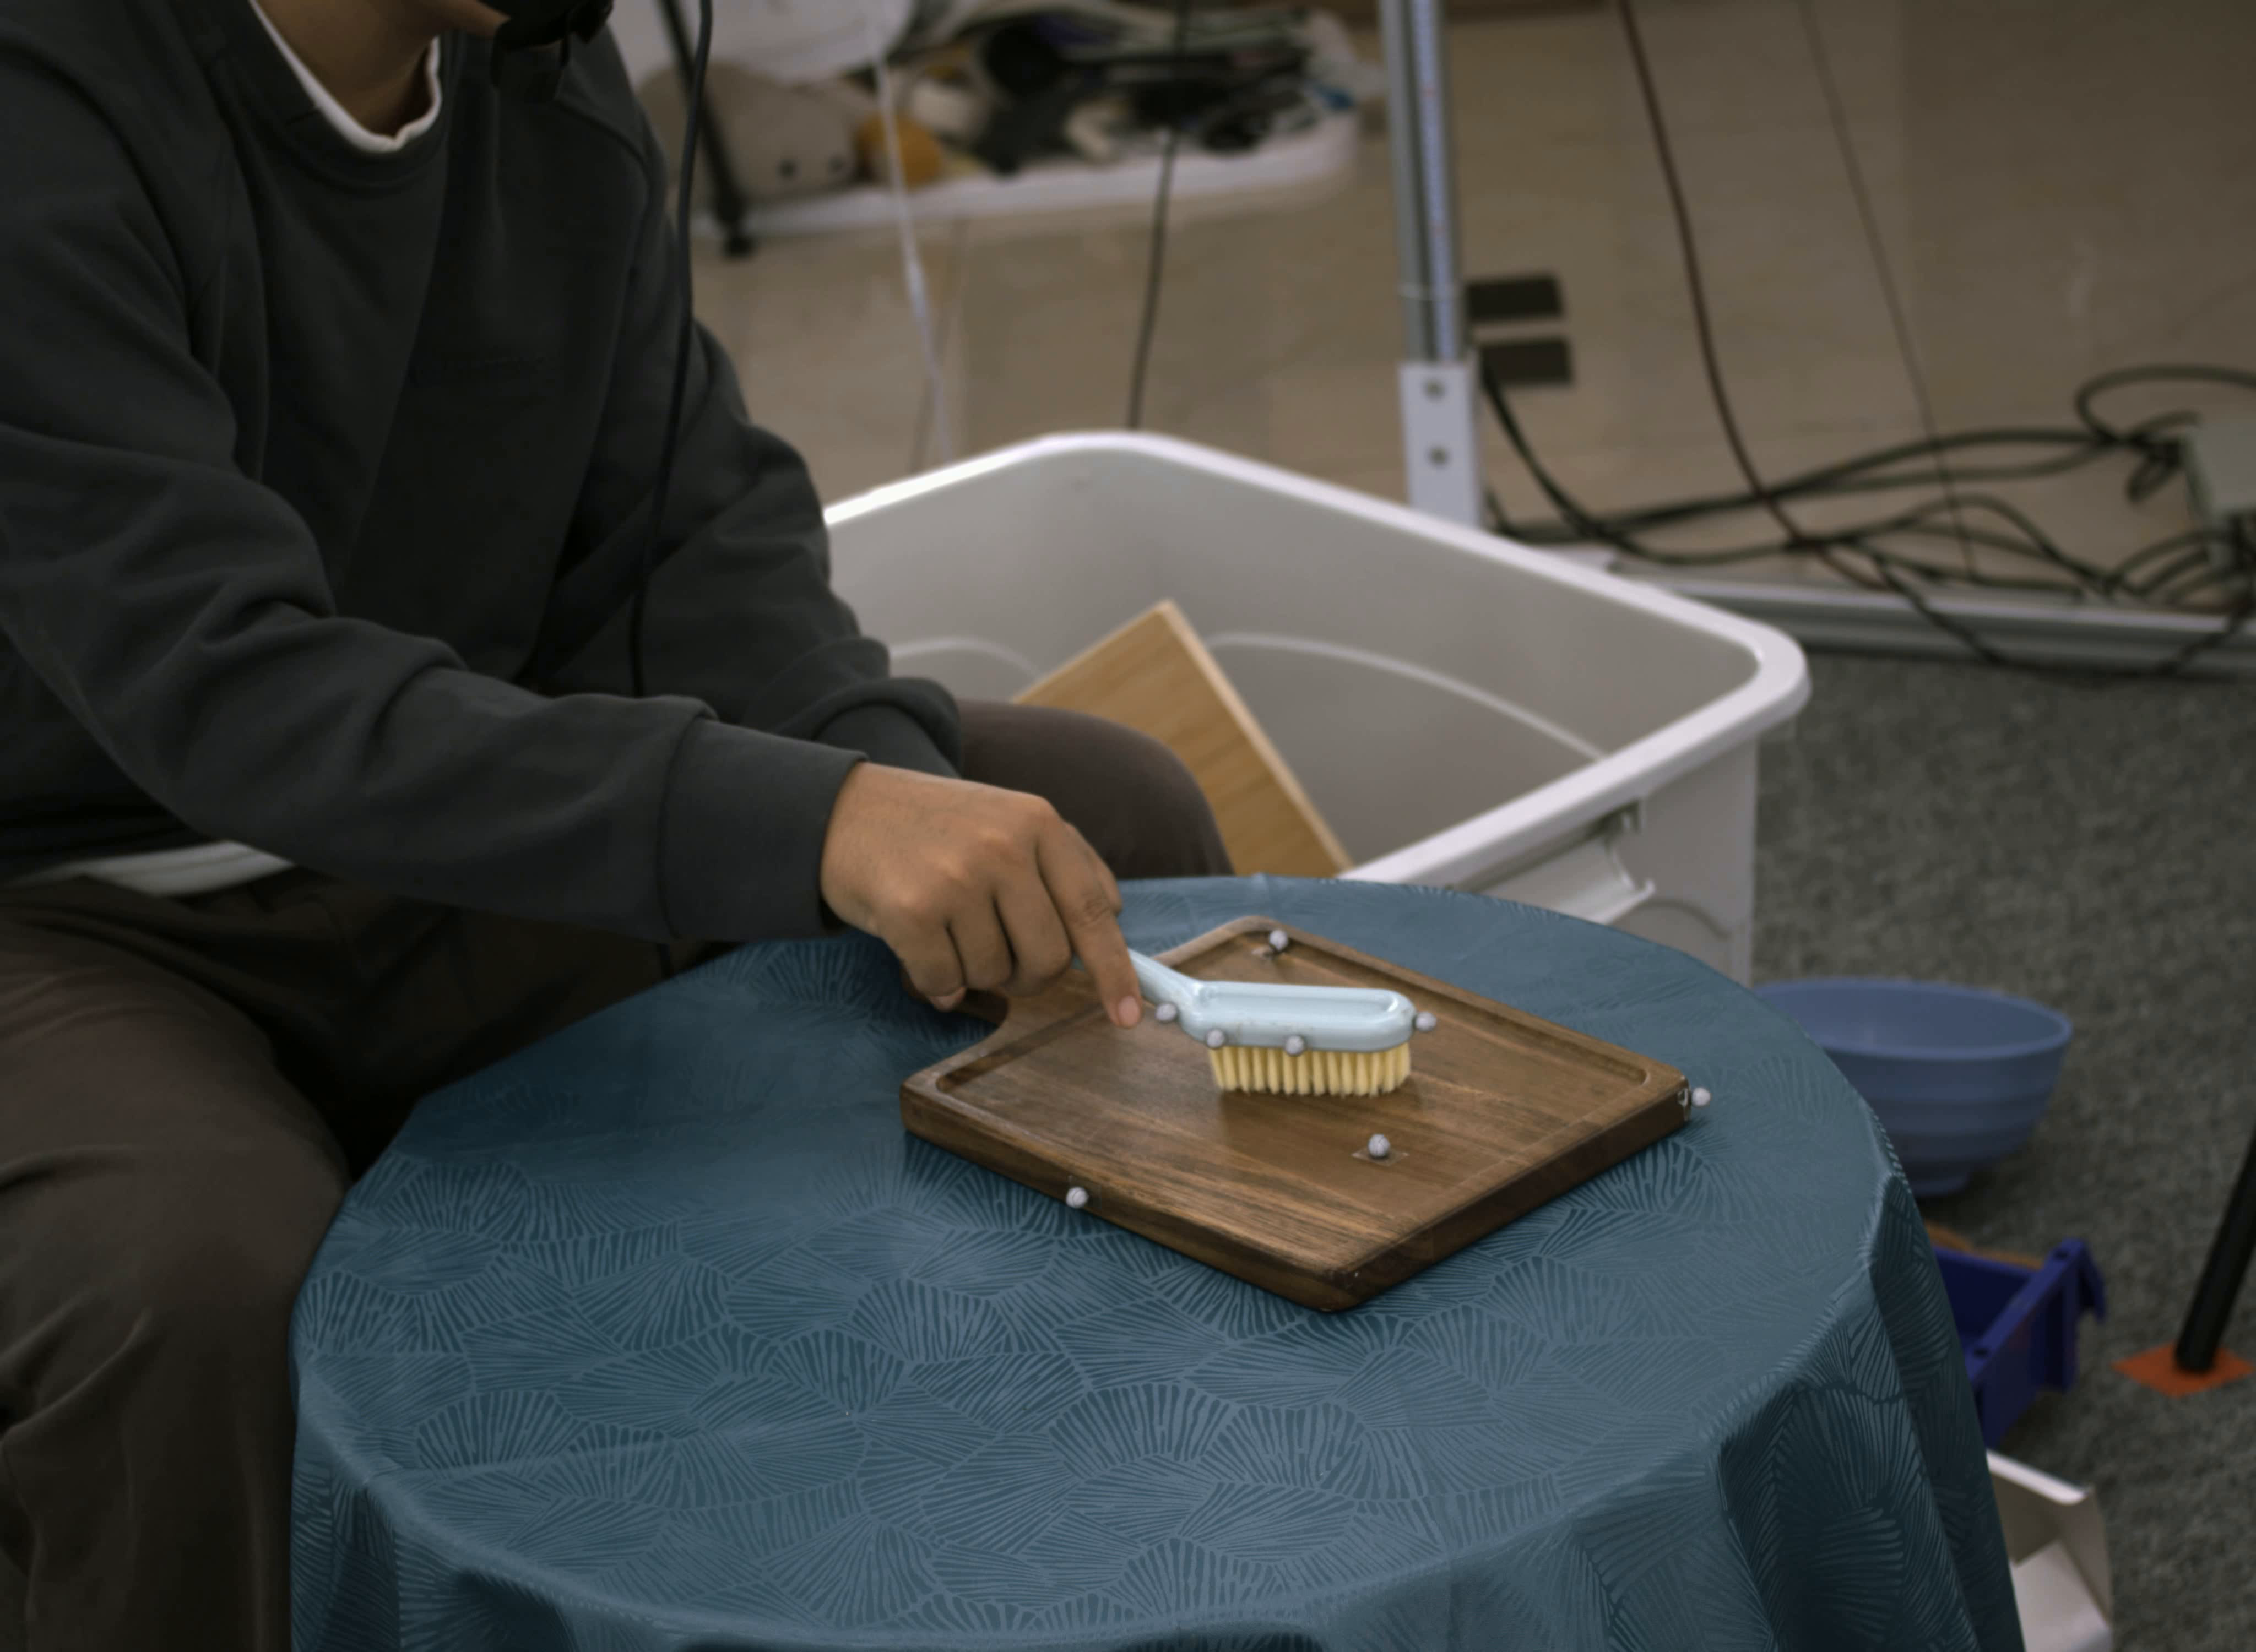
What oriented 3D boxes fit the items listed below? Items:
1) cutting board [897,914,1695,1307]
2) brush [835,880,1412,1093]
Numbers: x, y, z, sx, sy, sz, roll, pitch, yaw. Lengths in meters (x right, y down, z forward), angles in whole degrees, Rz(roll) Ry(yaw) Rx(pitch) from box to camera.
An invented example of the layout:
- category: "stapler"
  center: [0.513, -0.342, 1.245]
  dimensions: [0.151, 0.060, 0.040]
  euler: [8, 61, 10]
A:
- category: "cutting board"
  center: [0.031, 0.093, 2.217]
  dimensions: [0.199, 0.023, 0.349]
  euler: [-25, 30, -35]
- category: "brush"
  center: [-0.004, 0.063, 2.186]
  dimensions: [0.228, 0.050, 0.037]
  euler: [14, 30, 7]
